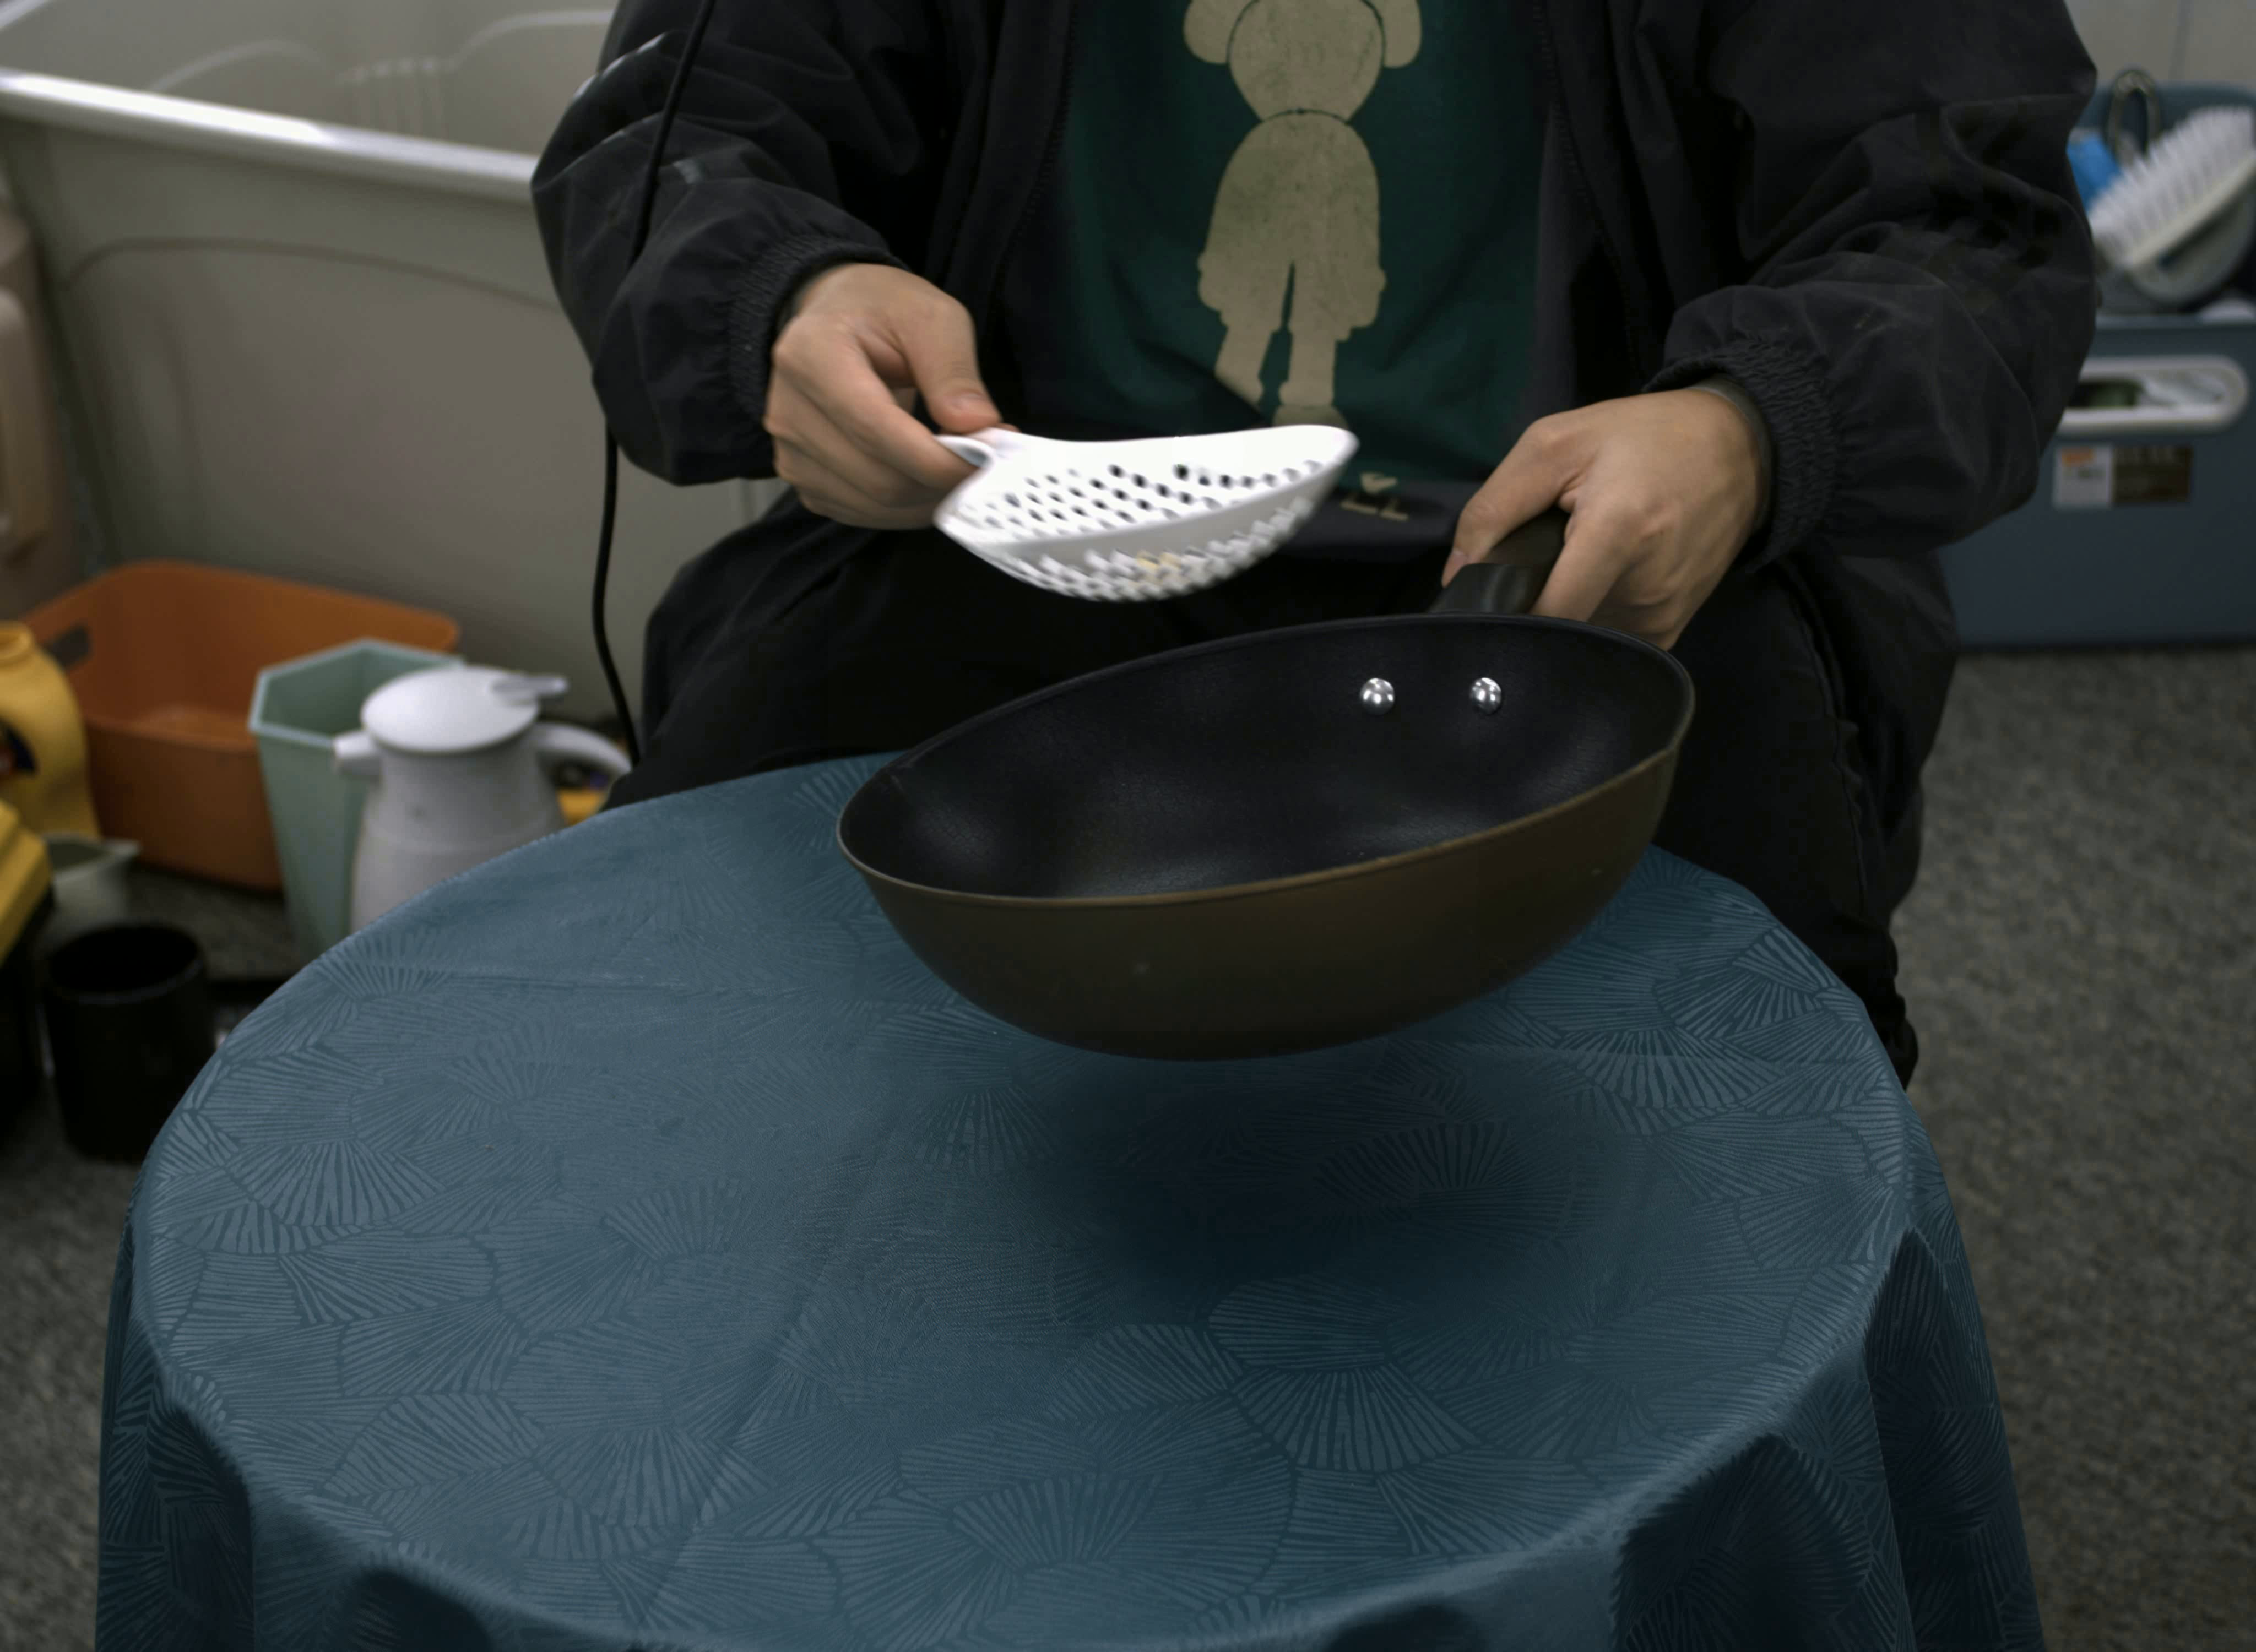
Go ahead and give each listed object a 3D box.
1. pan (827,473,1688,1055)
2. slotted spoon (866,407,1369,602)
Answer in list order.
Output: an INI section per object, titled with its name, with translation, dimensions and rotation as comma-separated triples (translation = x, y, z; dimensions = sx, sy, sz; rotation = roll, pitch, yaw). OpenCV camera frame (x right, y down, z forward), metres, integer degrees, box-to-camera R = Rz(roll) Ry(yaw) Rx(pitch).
[pan]
translation = 0.088, -0.020, 1.905
dimensions = 0.285, 0.086, 0.470
rotation = -1, 18, 29
[slotted spoon]
translation = -0.025, -0.115, 1.919
dimensions = 0.137, 0.050, 0.348
rotation = -19, 17, -18
